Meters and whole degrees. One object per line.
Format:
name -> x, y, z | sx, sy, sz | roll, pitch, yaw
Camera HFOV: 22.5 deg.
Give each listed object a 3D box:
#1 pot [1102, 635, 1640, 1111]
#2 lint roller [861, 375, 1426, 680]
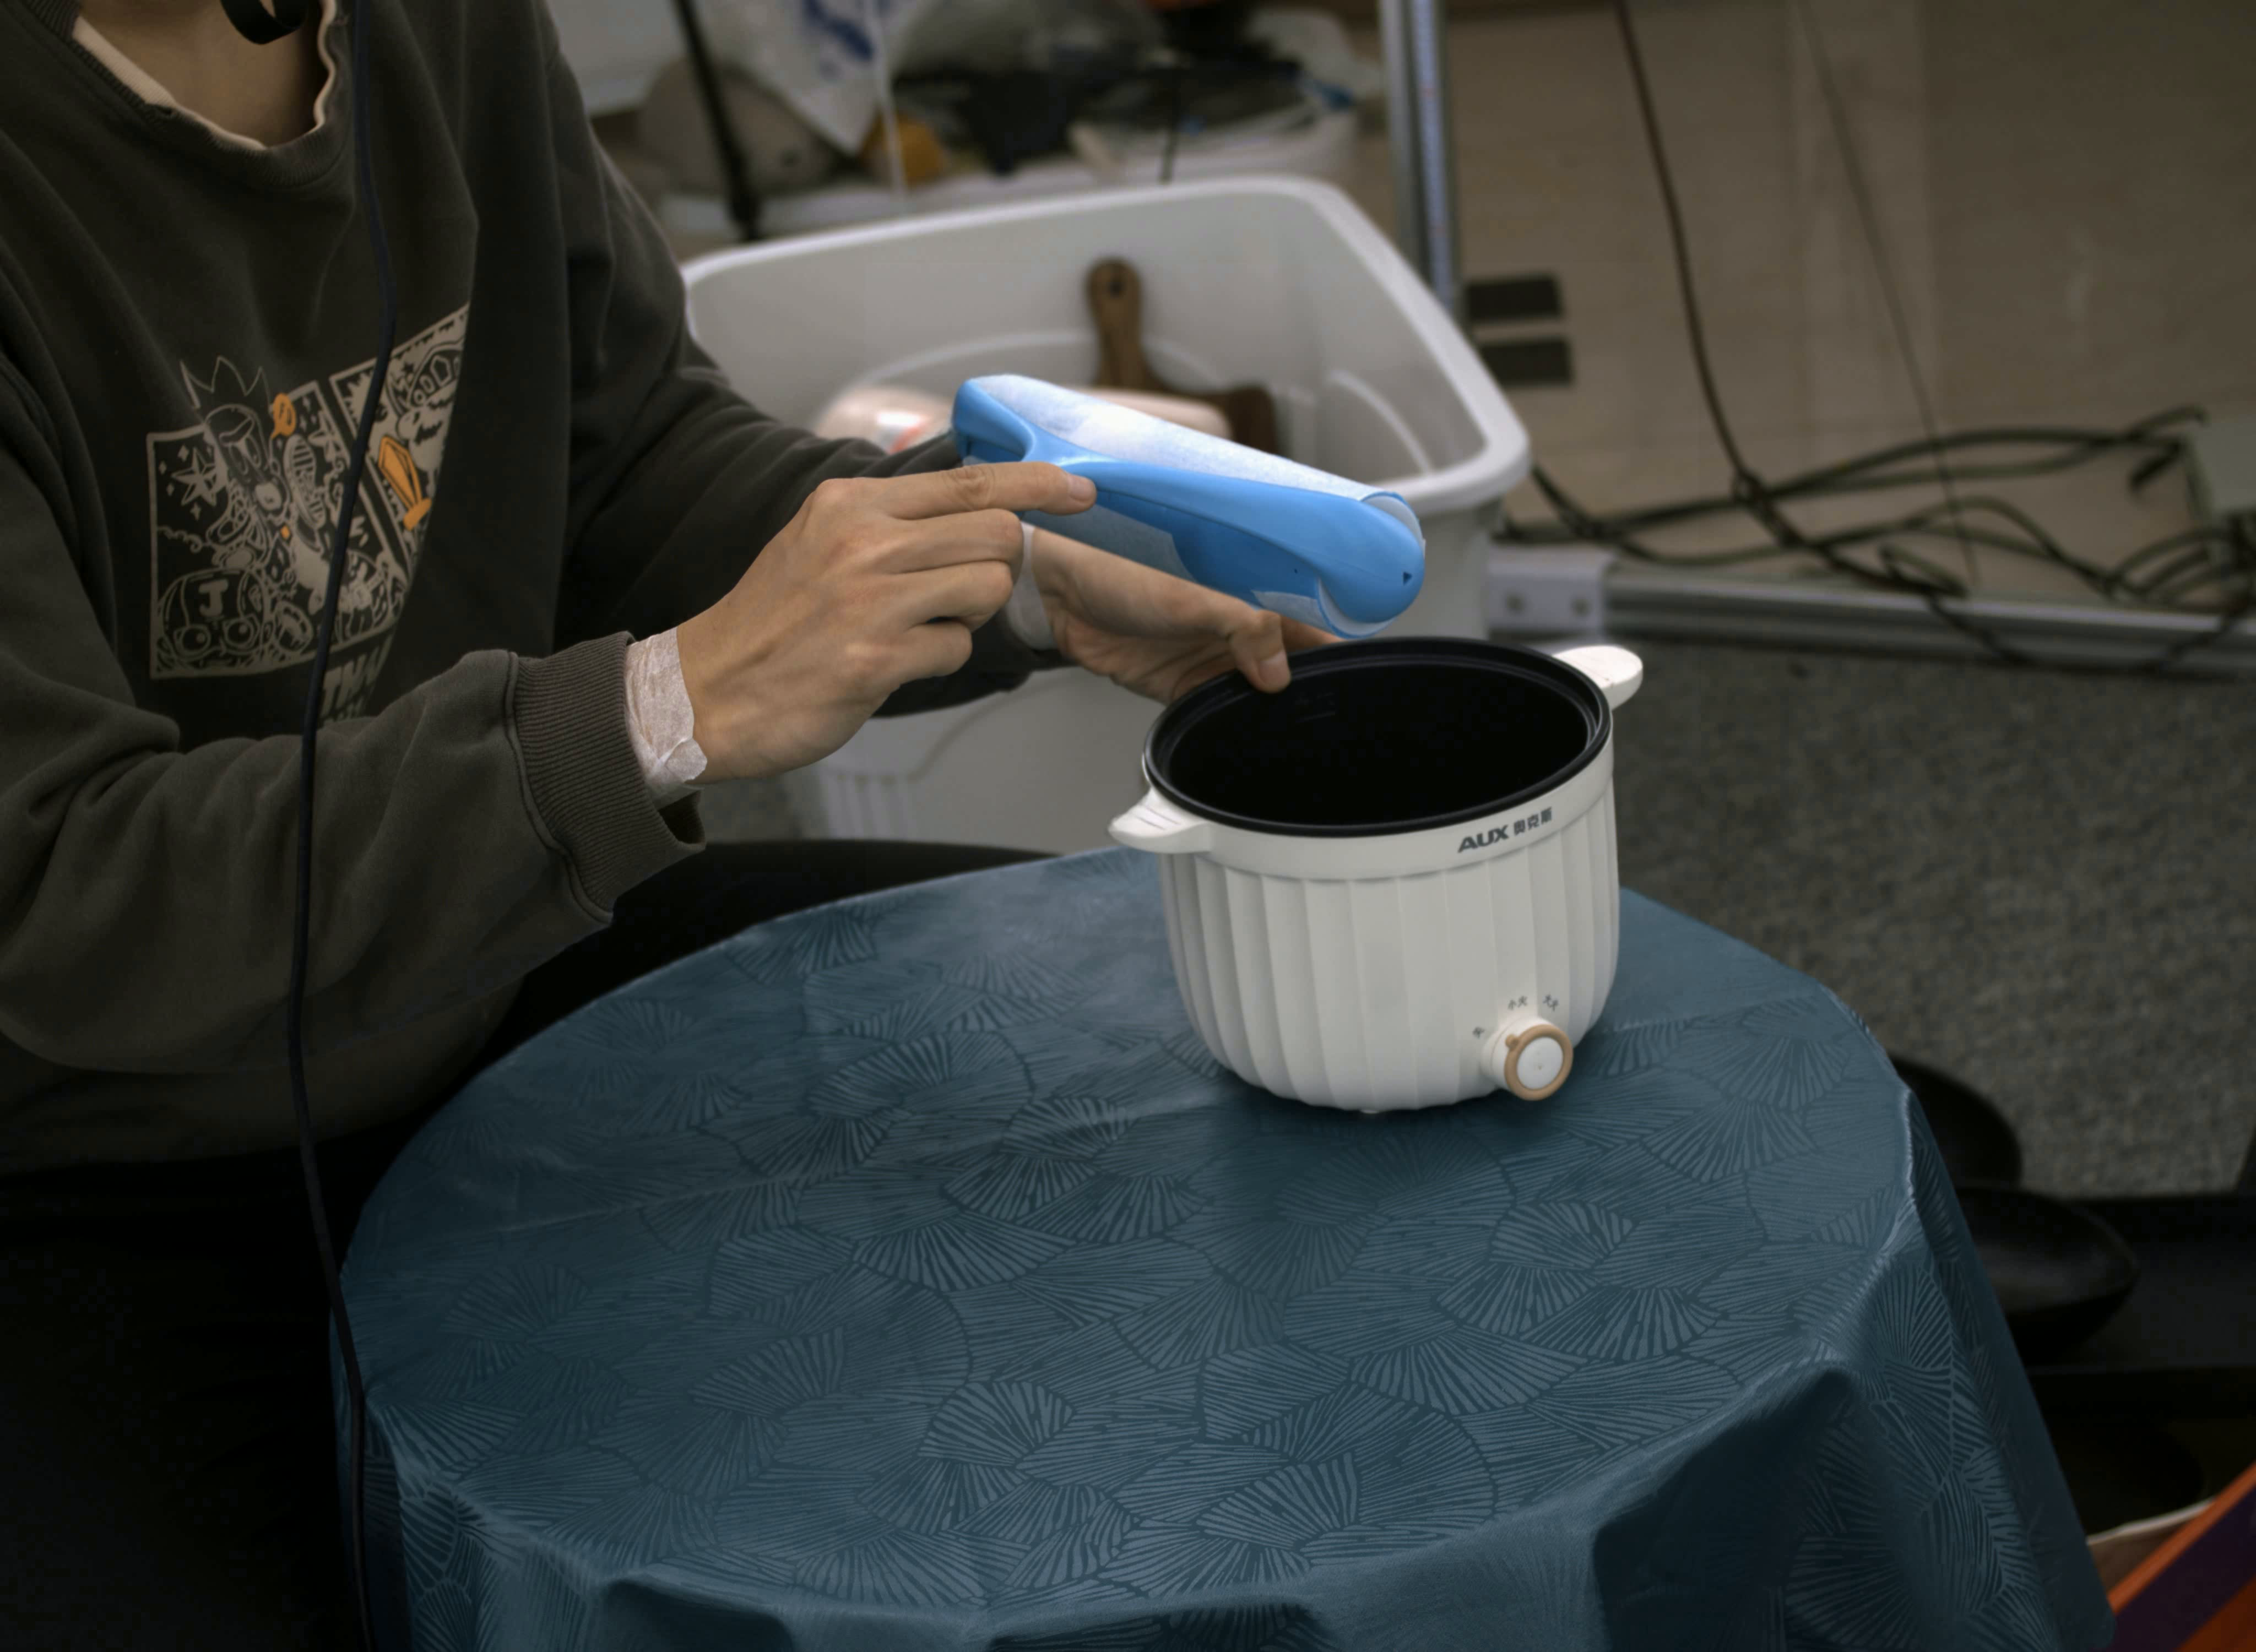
pot -> 0.106, 0.023, 2.201 | 0.239, 0.145, 0.188 | -21, 25, -24
lint roller -> -0.021, -0.104, 2.024 | 0.179, 0.069, 0.227 | -20, 30, -39
